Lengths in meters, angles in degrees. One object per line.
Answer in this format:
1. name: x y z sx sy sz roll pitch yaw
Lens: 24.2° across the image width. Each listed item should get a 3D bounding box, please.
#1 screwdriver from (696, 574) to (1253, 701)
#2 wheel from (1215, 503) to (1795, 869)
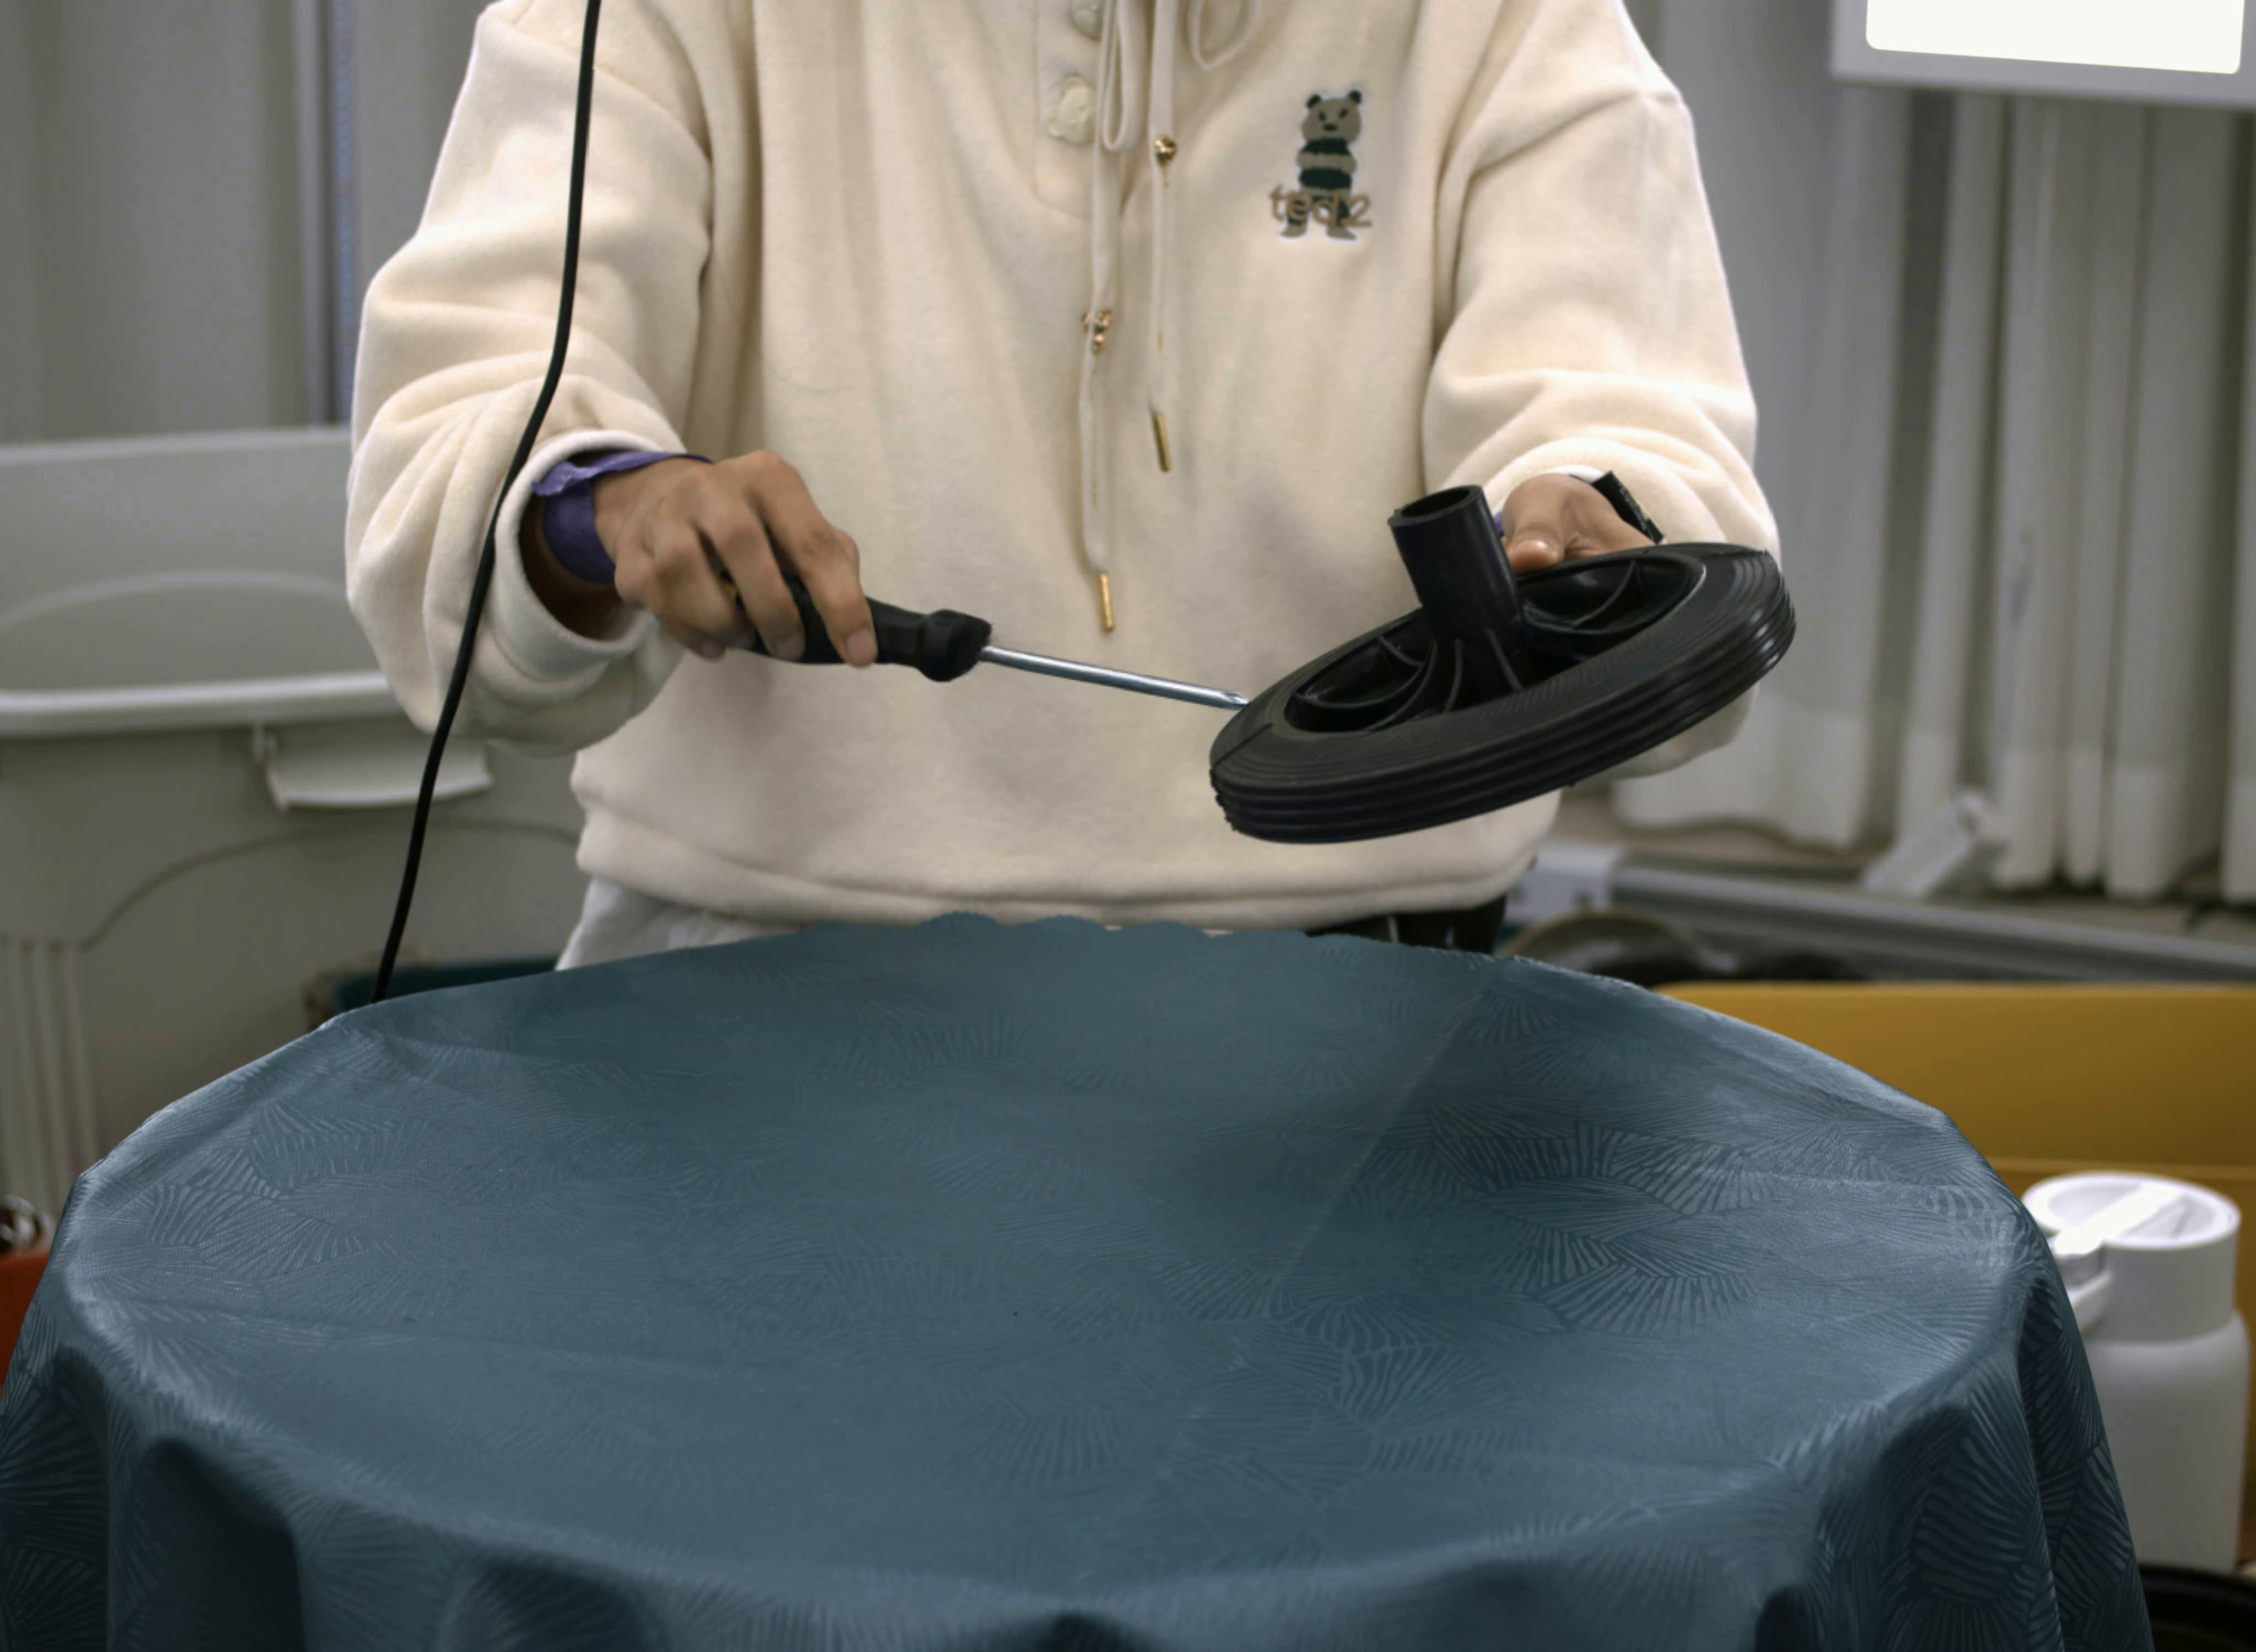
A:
1. screwdriver: -0.049 -0.058 1.708 0.194 0.032 0.031 9 18 17
2. wheel: 0.108 -0.057 1.626 0.186 0.080 0.189 -11 20 32
